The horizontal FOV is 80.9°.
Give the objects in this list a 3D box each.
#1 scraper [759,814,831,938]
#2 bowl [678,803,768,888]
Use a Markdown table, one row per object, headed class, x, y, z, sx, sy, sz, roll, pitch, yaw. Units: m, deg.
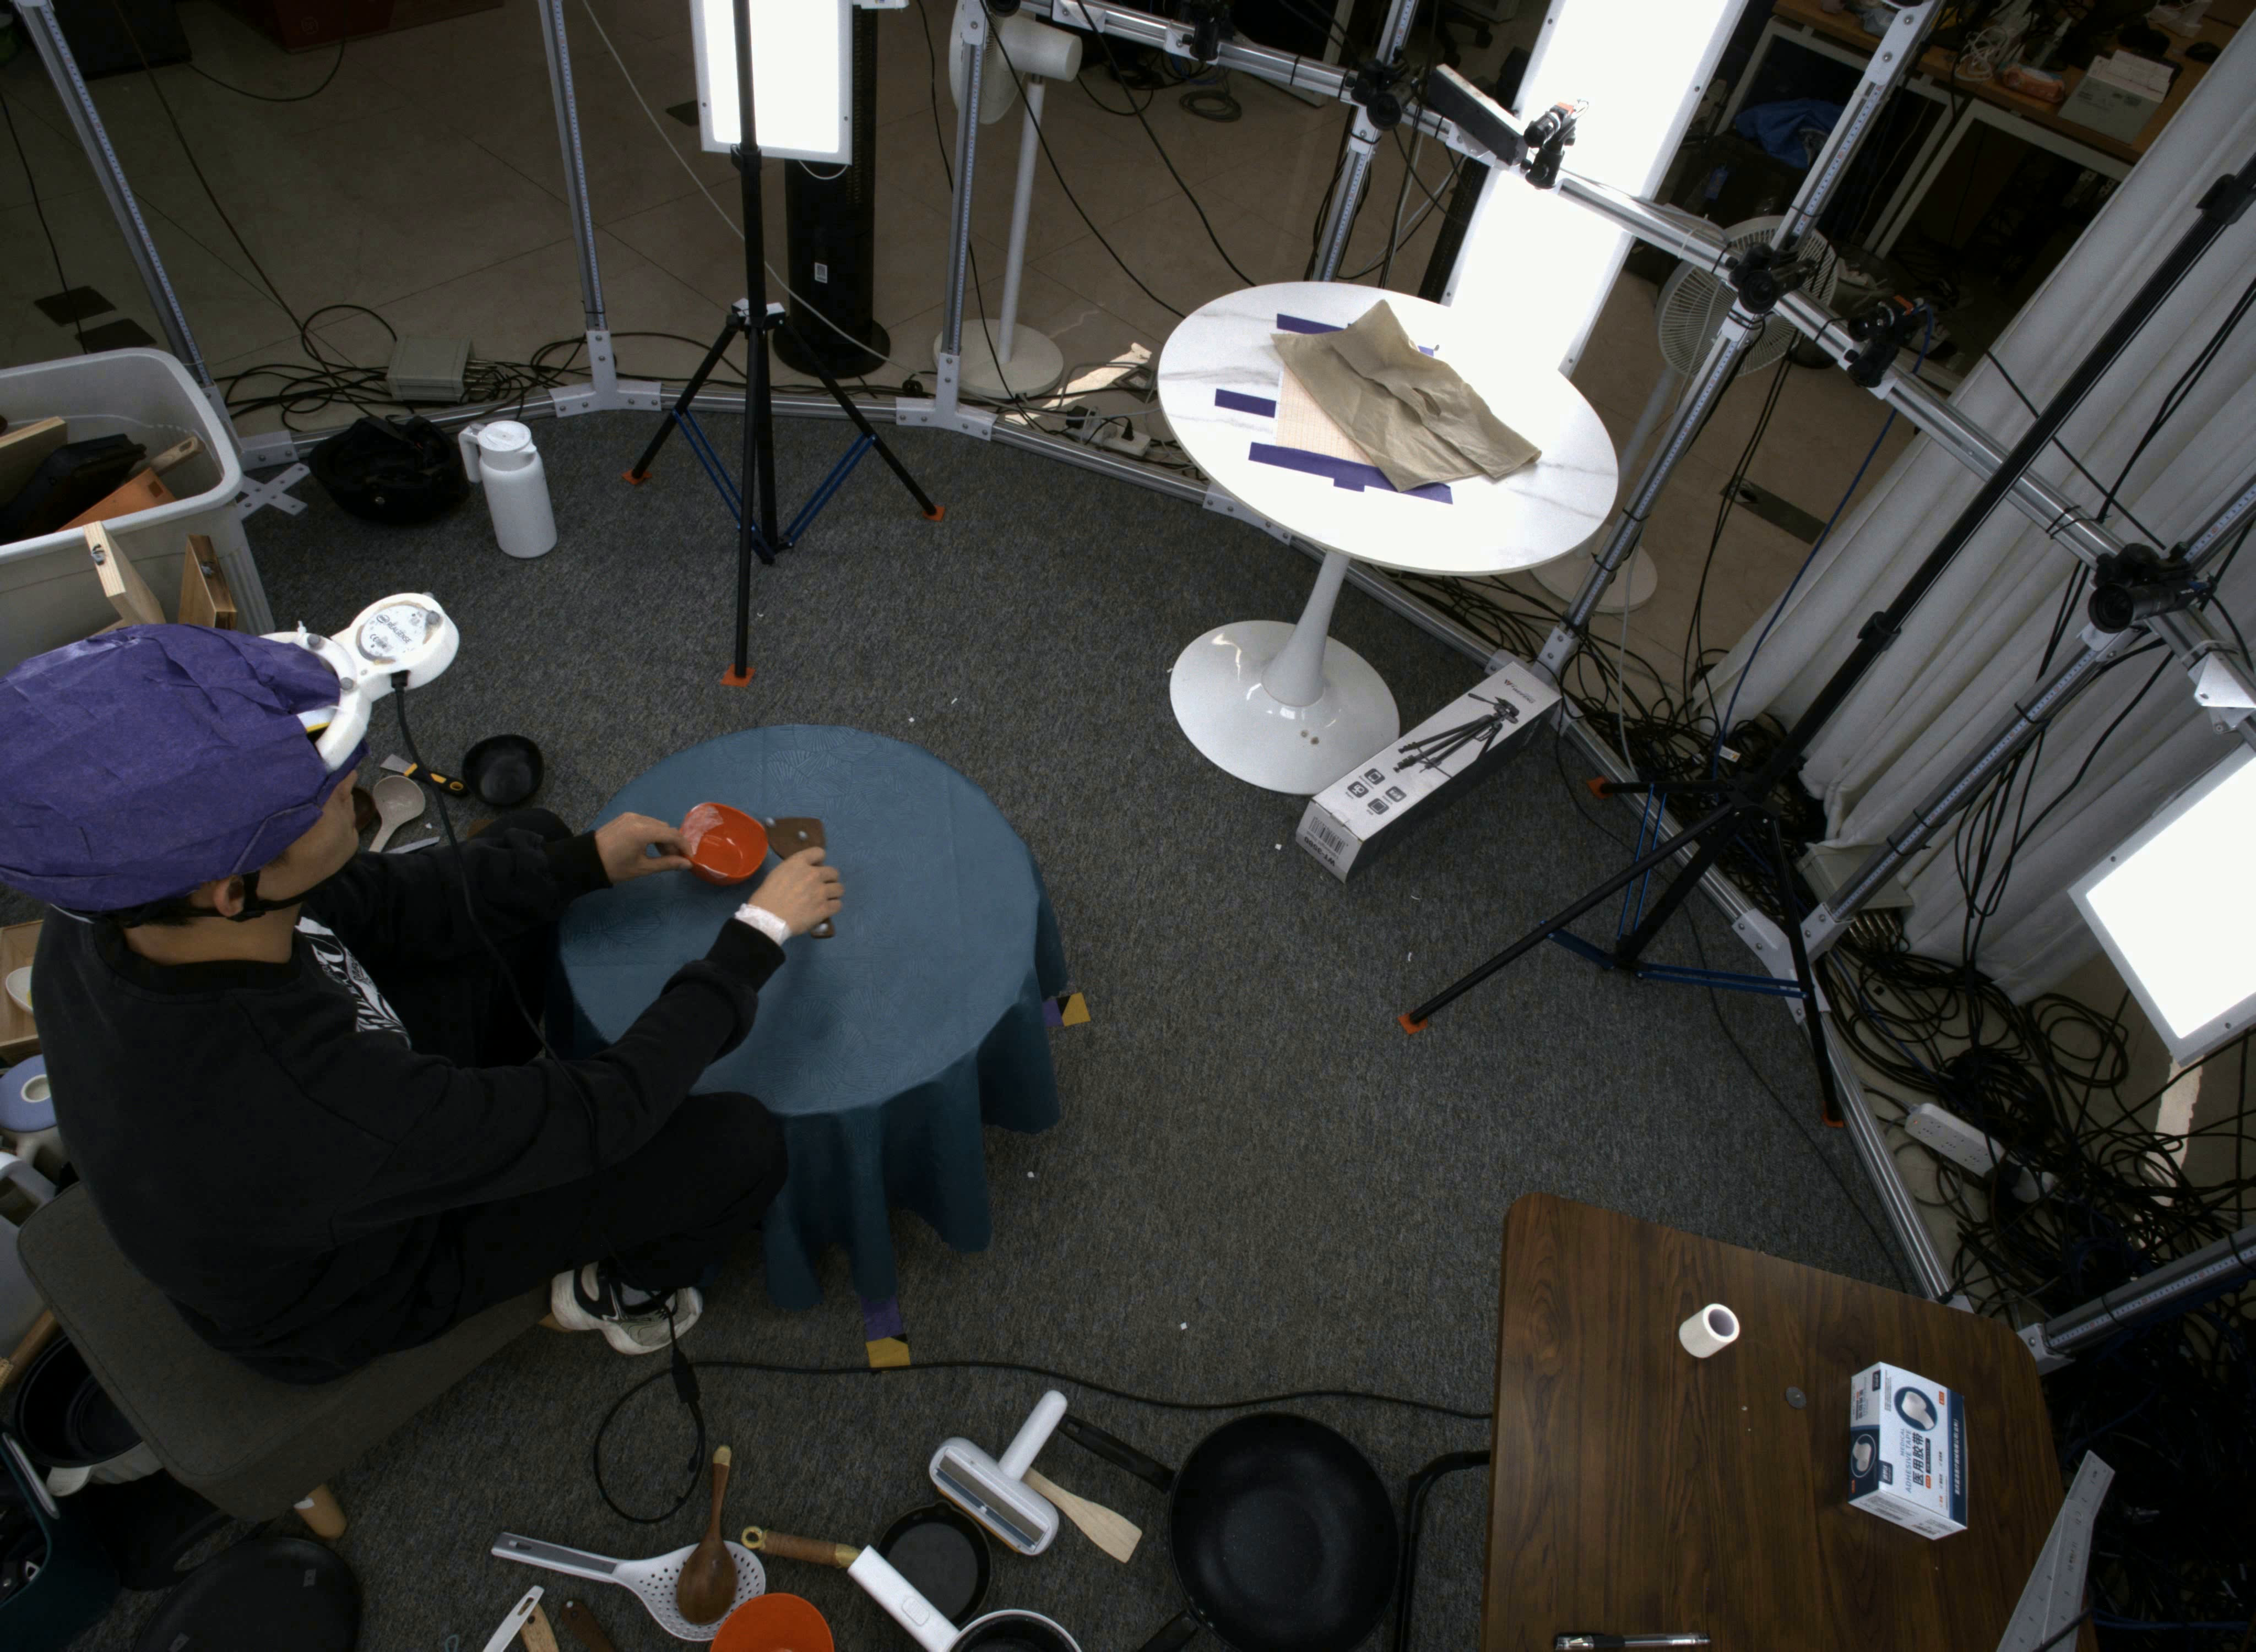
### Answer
| class | x | y | z | sx | sy | sz | roll | pitch | yaw |
| --- | --- | --- | --- | --- | --- | --- | --- | --- | --- |
| scraper | -0.389 | 0.056 | 1.547 | 0.077 | 0.011 | 0.204 | 1 | 42 | -30 |
| bowl | -0.519 | 0.031 | 1.637 | 0.121 | 0.051 | 0.116 | 23 | 43 | -21 |
